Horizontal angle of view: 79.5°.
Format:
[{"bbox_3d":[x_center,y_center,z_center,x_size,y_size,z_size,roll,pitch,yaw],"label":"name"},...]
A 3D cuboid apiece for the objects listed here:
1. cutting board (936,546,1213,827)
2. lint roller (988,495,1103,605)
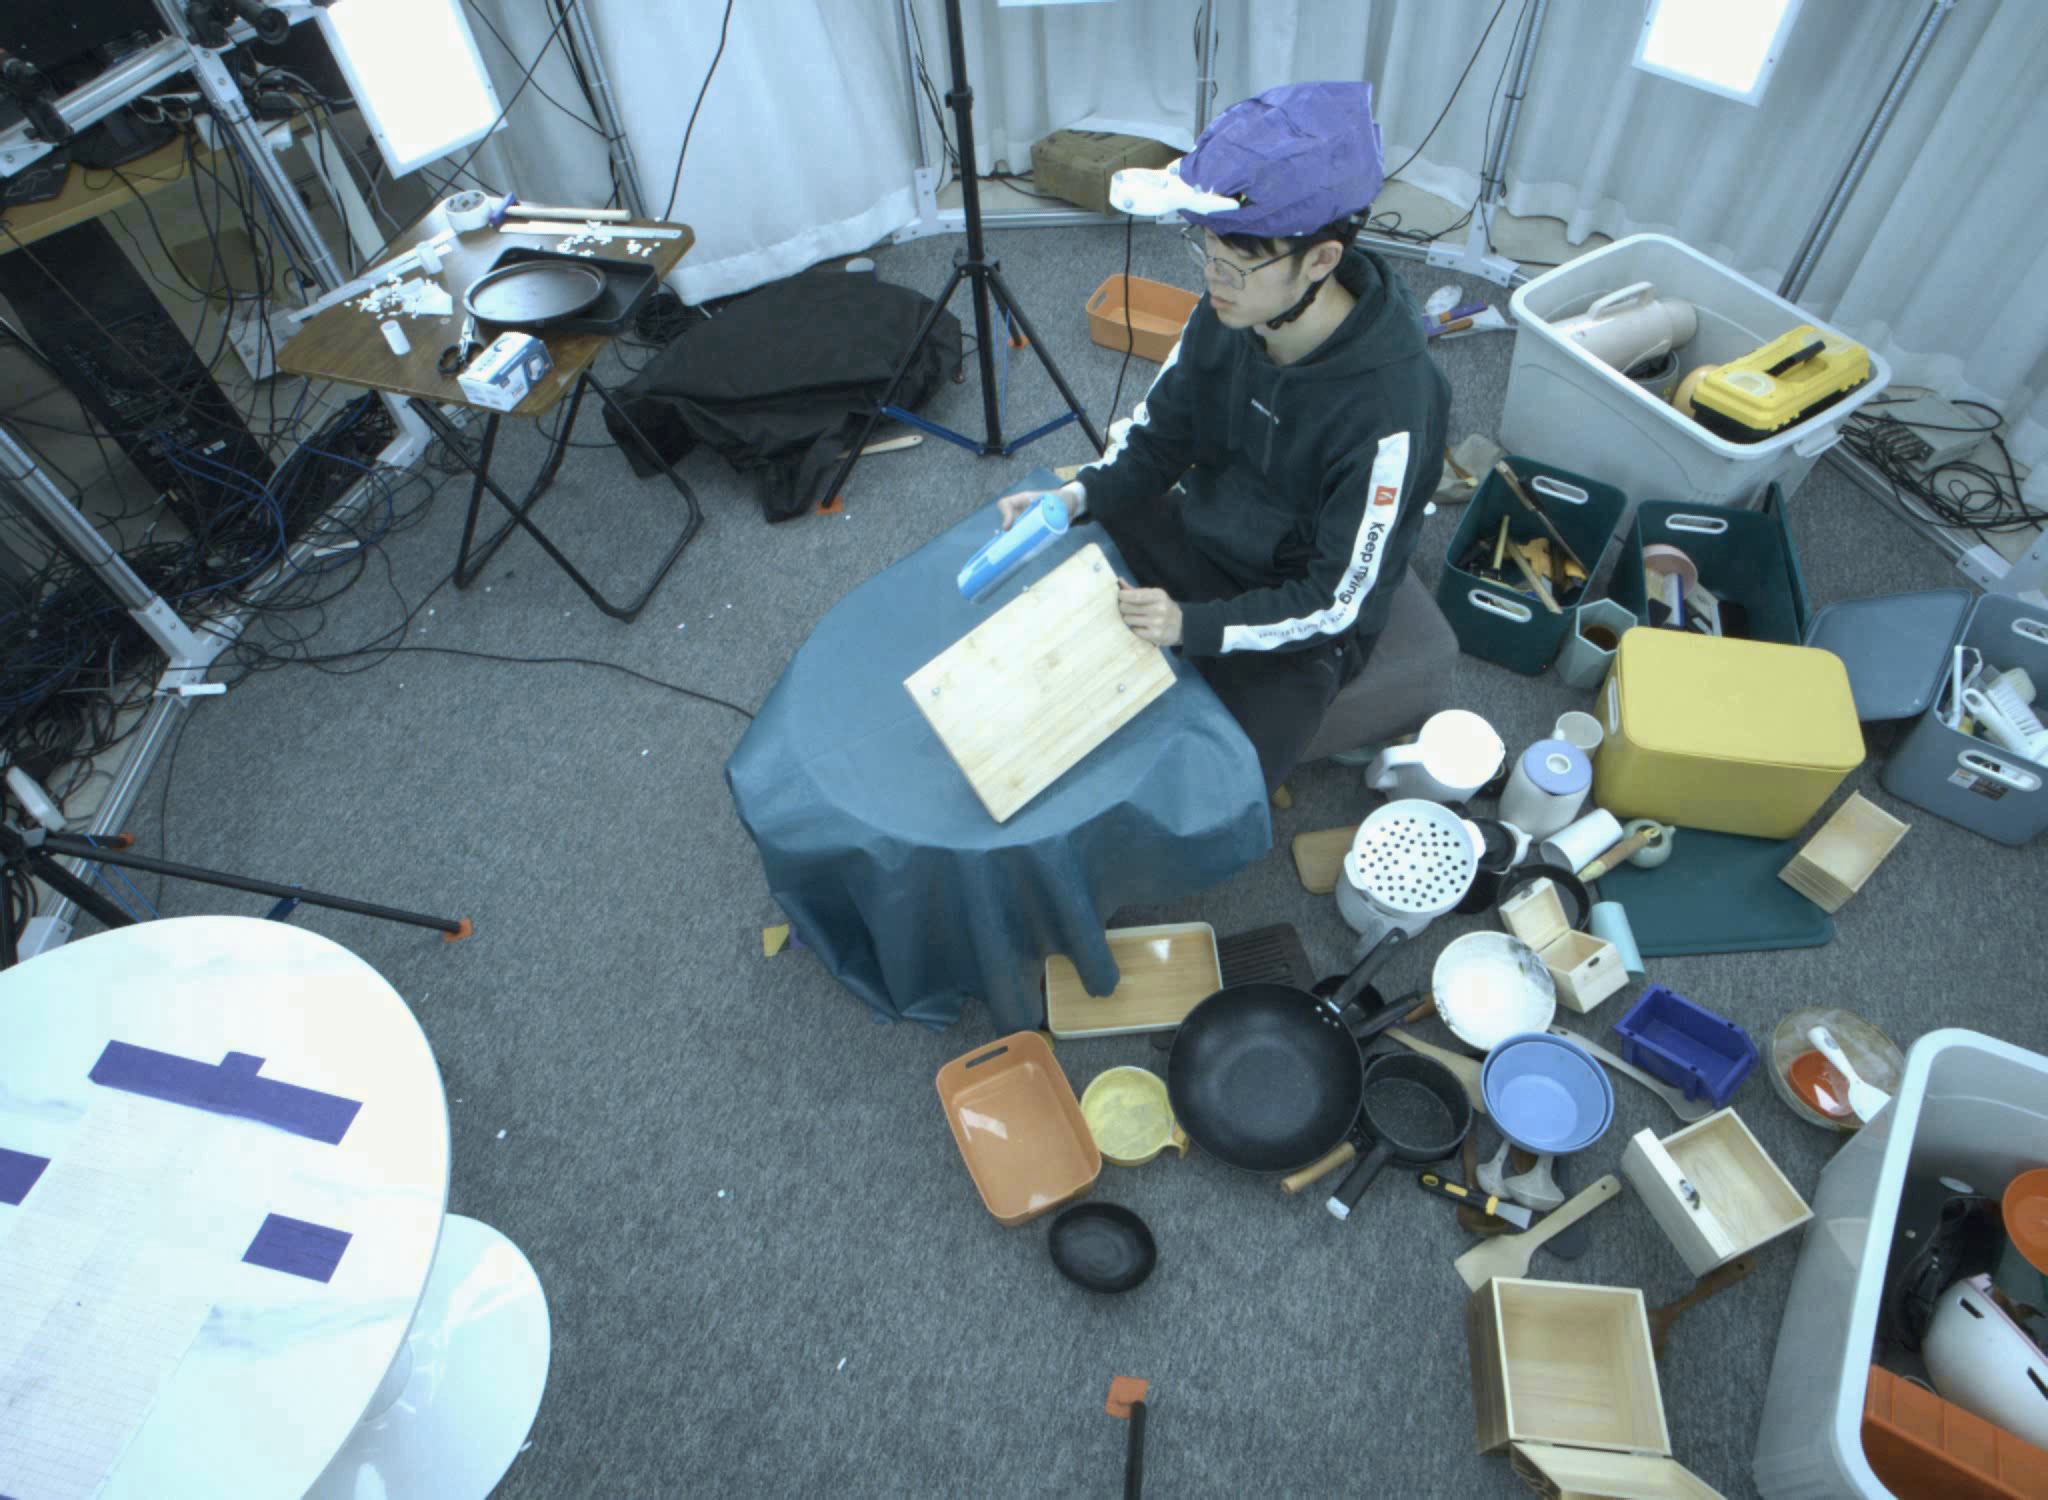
[{"bbox_3d":[0.075,-0.090,1.707,0.350,0.254,0.023,-38,21,-15],"label":"cutting board"},{"bbox_3d":[0.052,-0.304,1.783,0.068,0.226,0.181,50,39,-6],"label":"lint roller"}]
